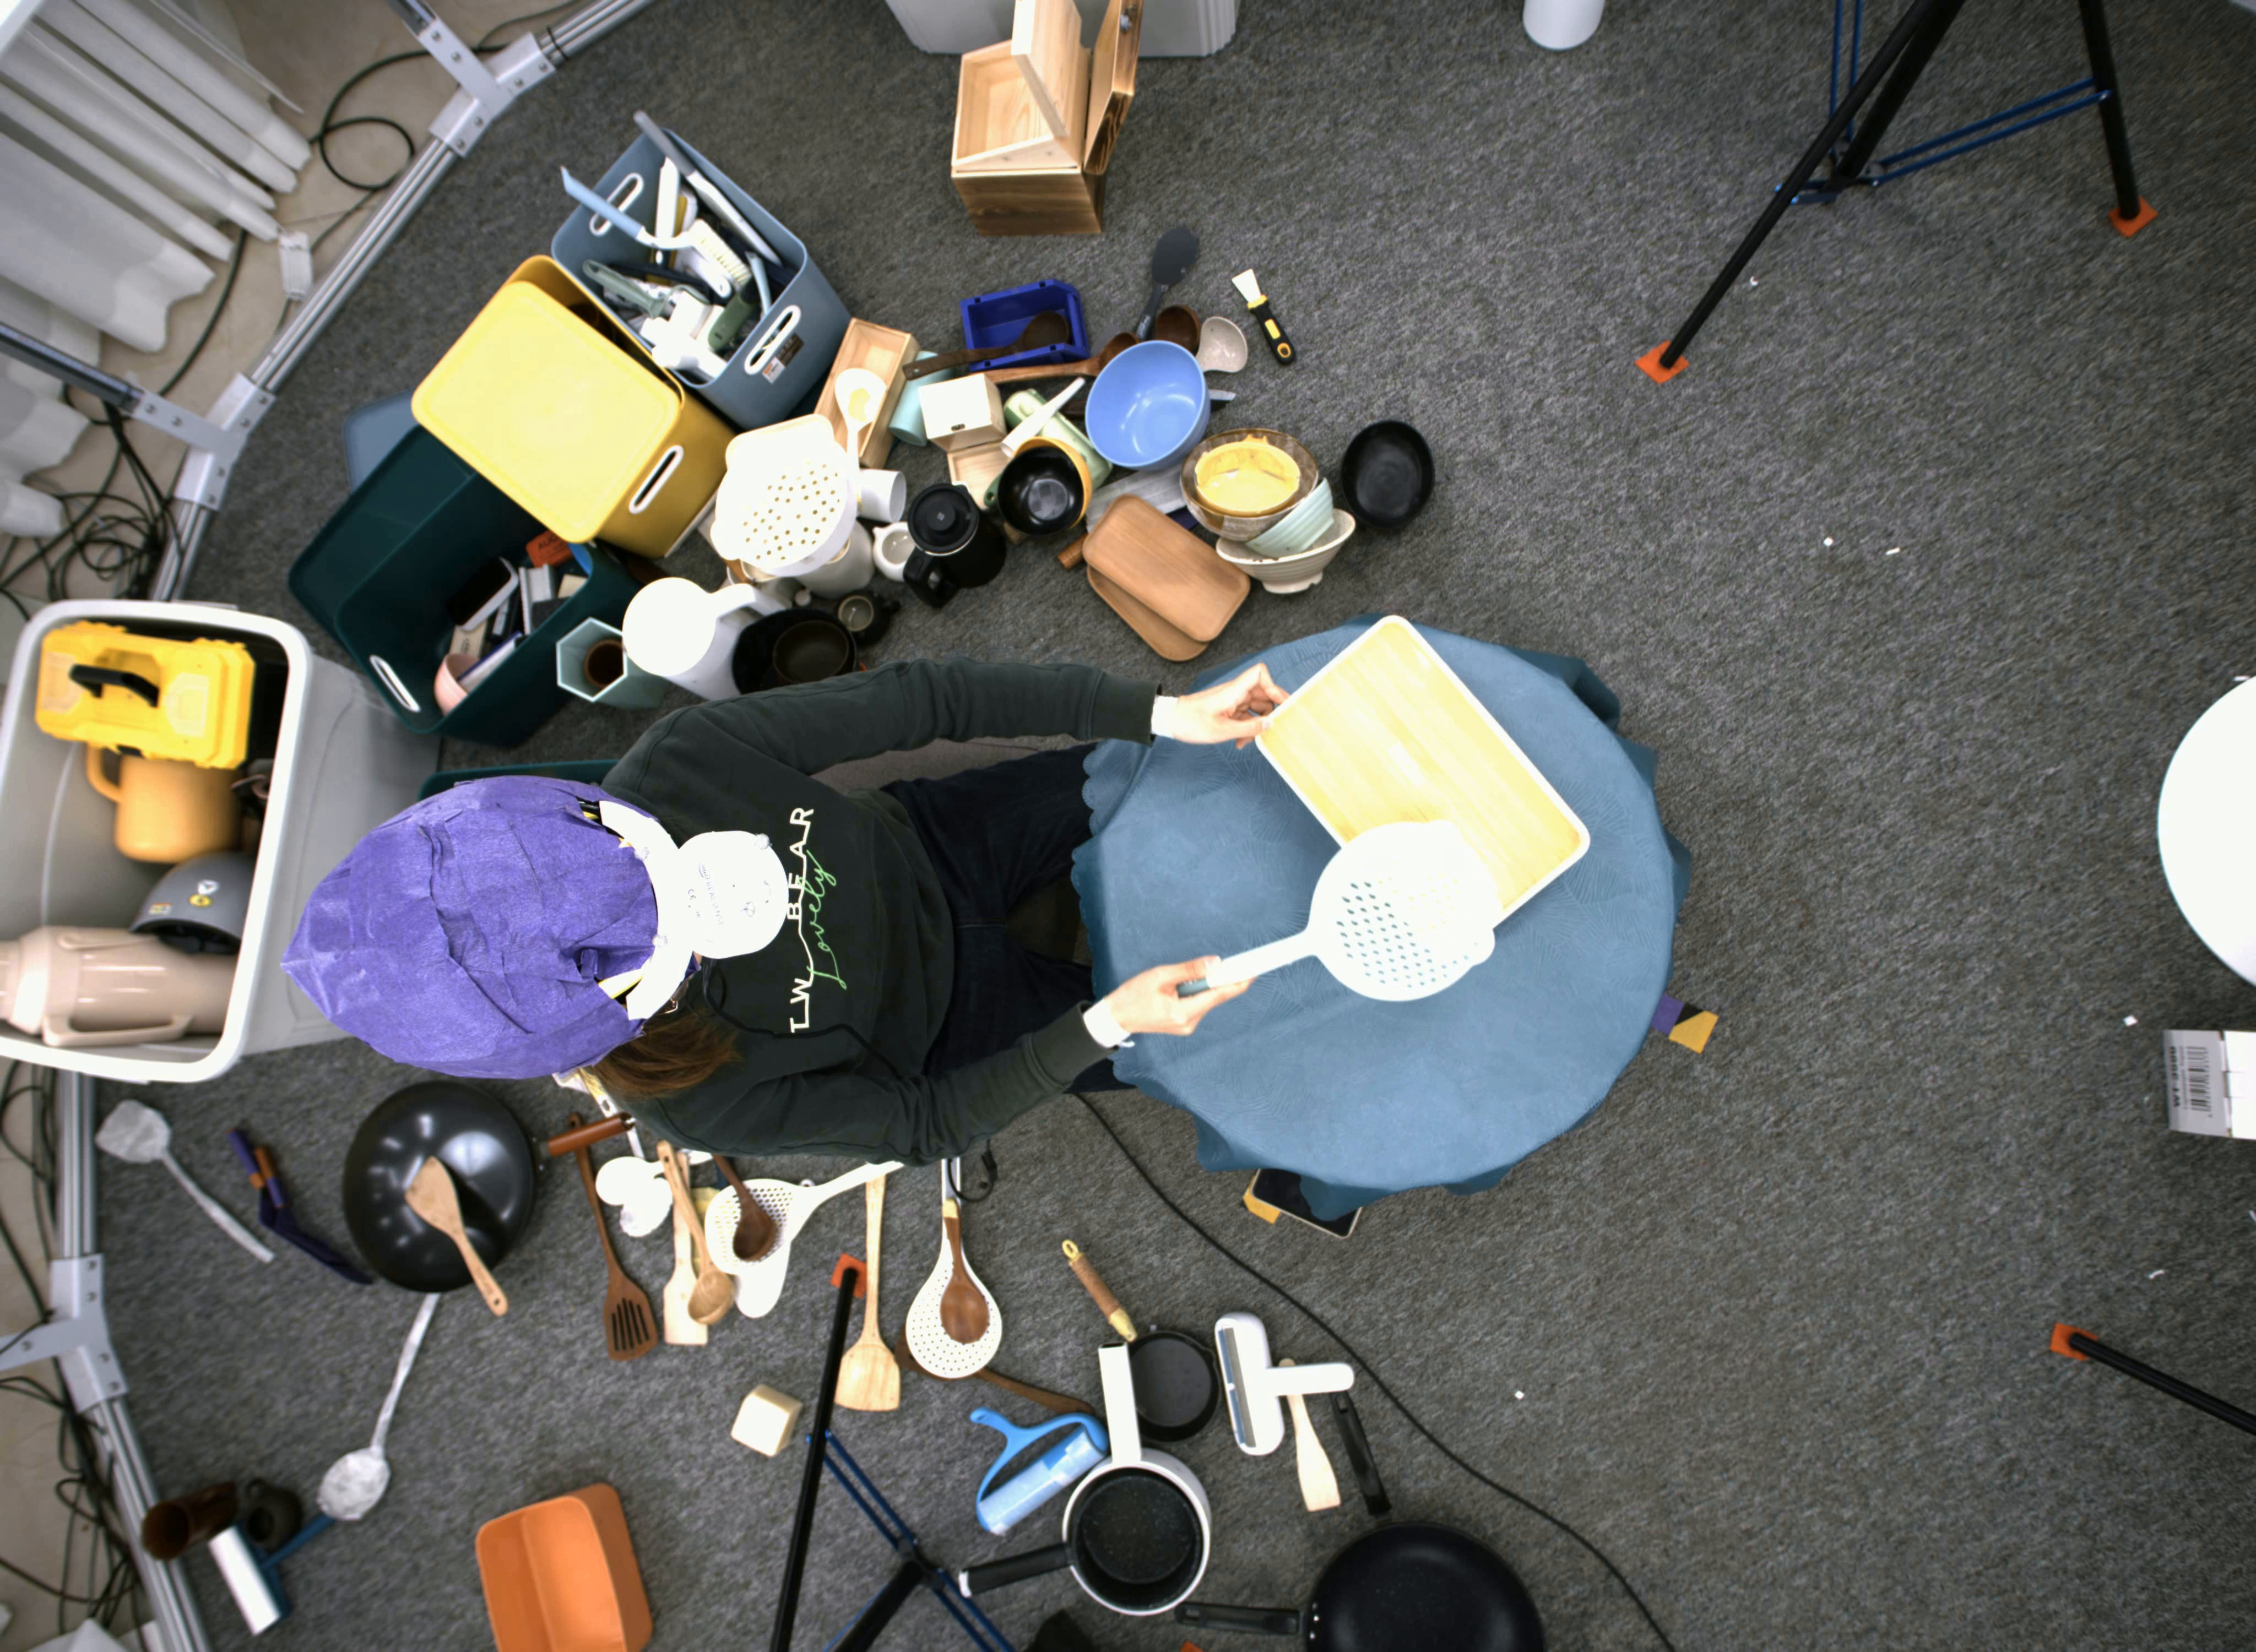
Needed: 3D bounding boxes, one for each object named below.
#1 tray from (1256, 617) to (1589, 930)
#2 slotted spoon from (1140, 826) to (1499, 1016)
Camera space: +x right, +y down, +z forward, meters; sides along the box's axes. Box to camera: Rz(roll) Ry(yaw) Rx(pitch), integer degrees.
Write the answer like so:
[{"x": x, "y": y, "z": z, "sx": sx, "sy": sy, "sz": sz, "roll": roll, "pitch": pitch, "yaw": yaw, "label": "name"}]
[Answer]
[{"x": 0.287, "y": -0.038, "z": 1.353, "sx": 0.193, "sy": 0.027, "sz": 0.300, "roll": -40, "pitch": 88, "yaw": 11, "label": "tray"}, {"x": 0.172, "y": 0.118, "z": 1.311, "sx": 0.361, "sy": 0.076, "sz": 0.166, "roll": -17, "pitch": 63, "yaw": 11, "label": "slotted spoon"}]
